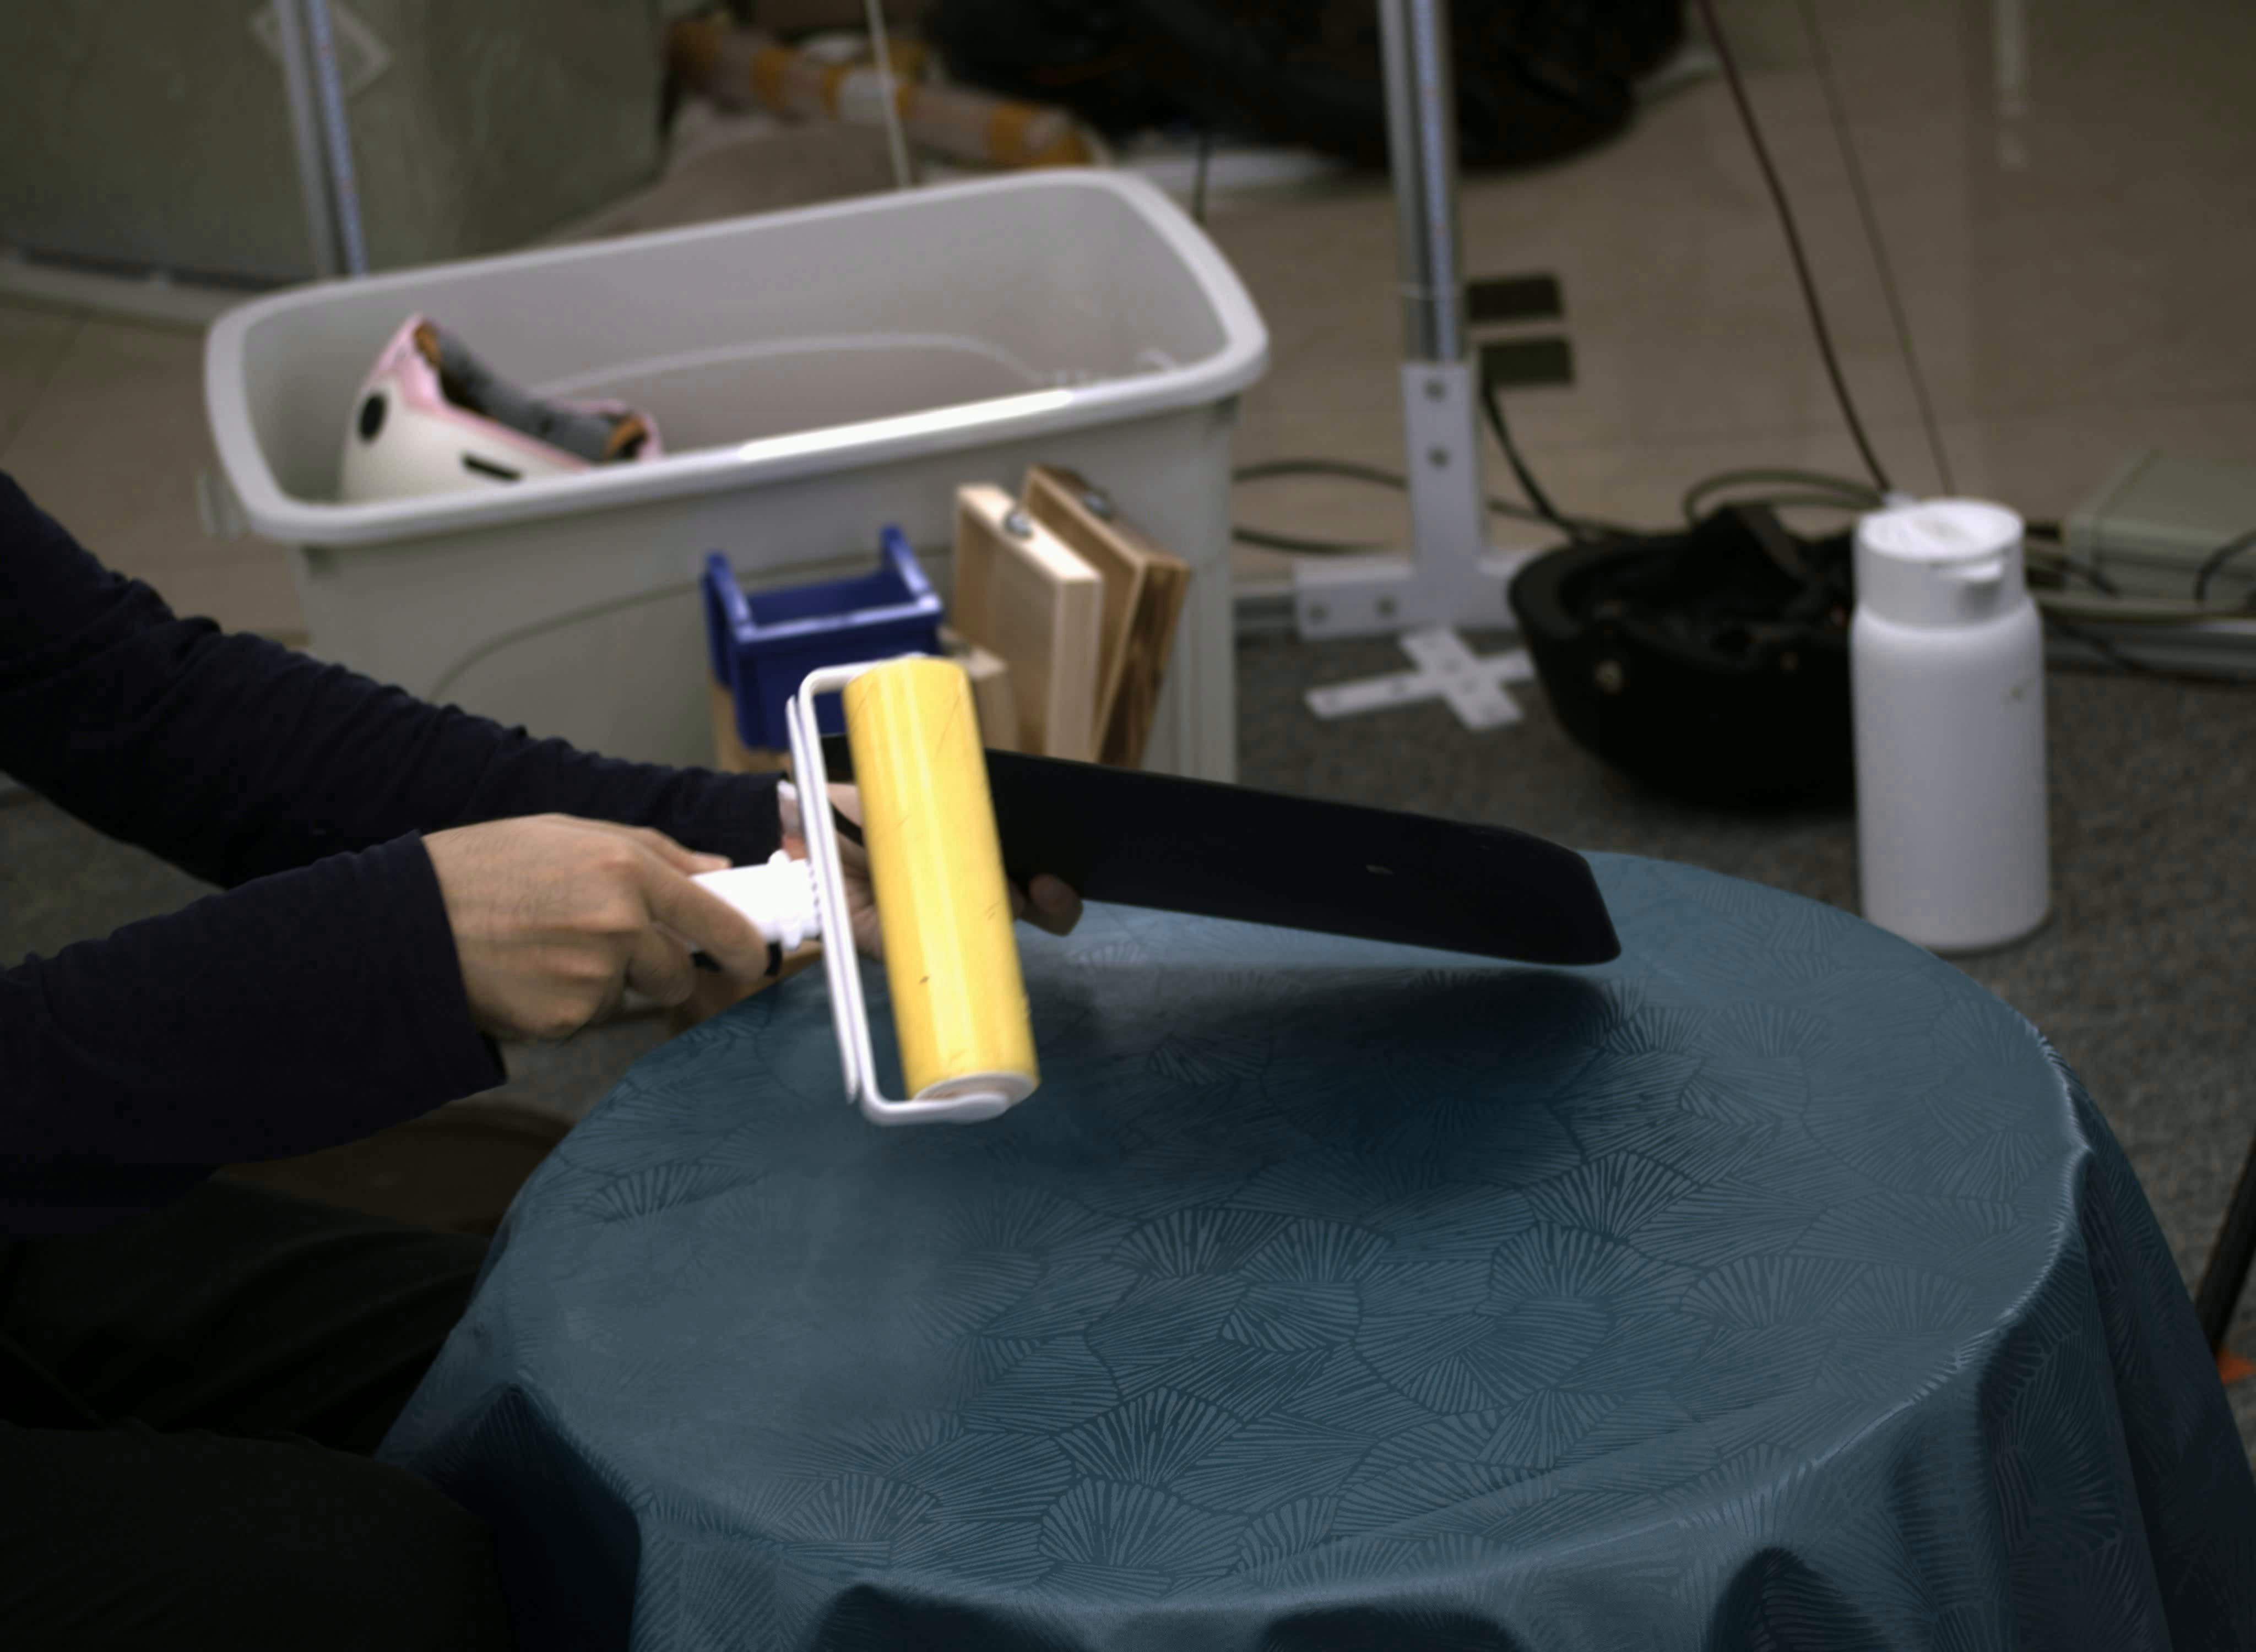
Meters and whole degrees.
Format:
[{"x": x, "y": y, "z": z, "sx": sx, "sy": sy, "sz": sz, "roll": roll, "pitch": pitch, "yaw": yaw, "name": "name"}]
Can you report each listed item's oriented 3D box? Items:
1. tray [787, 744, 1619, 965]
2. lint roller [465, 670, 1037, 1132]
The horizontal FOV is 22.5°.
[{"x": 0.026, "y": 0.007, "z": 2.212, "sx": 0.324, "sy": 0.010, "sz": 0.213, "roll": 8, "pitch": -14, "yaw": 13, "name": "tray"}, {"x": -0.138, "y": 0.031, "z": 2.017, "sx": 0.191, "sy": 0.052, "sz": 0.172, "roll": -4, "pitch": 69, "yaw": -21, "name": "lint roller"}]
